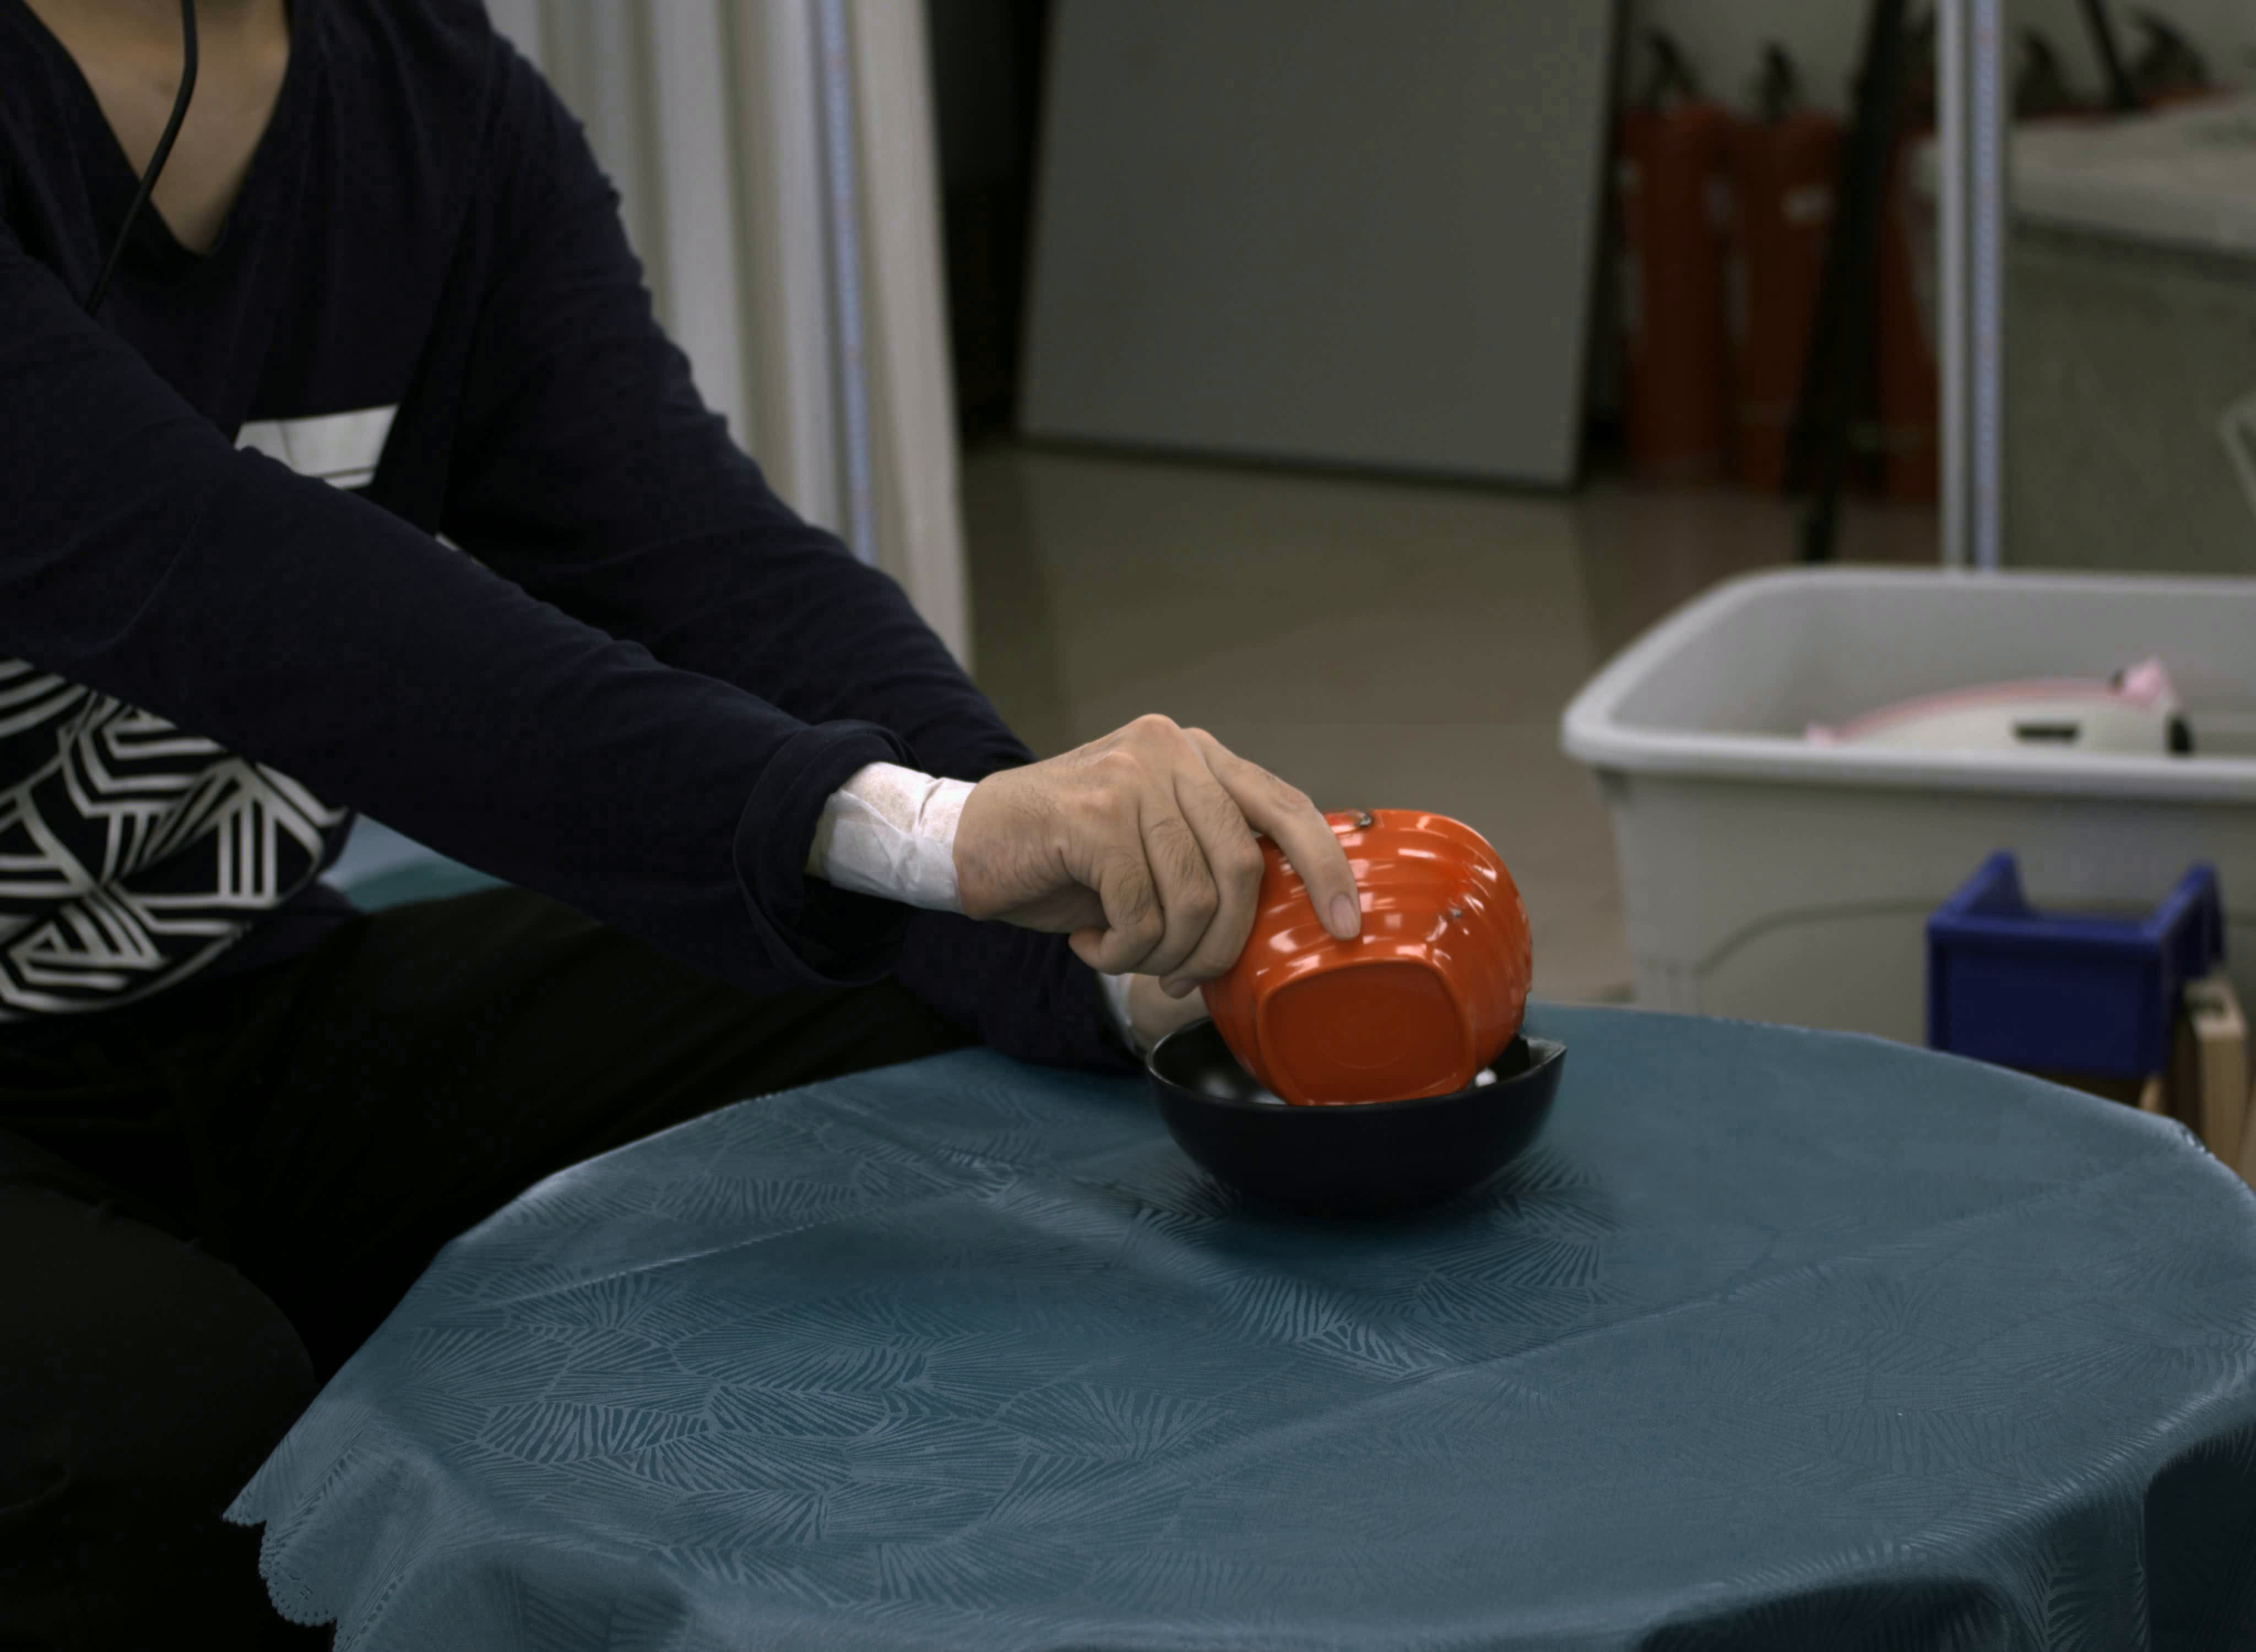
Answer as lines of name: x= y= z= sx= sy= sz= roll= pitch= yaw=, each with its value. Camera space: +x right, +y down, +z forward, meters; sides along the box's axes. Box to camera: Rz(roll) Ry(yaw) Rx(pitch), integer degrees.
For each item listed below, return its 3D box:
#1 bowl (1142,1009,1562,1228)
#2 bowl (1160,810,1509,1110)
bowl: x=0.075 y=0.098 z=1.754 sx=0.138 sy=0.050 sz=0.140 roll=-6 pitch=10 yaw=0
bowl: x=0.065 y=0.054 z=1.704 sx=0.118 sy=0.119 sz=0.051 roll=-1 pitch=43 yaw=8
